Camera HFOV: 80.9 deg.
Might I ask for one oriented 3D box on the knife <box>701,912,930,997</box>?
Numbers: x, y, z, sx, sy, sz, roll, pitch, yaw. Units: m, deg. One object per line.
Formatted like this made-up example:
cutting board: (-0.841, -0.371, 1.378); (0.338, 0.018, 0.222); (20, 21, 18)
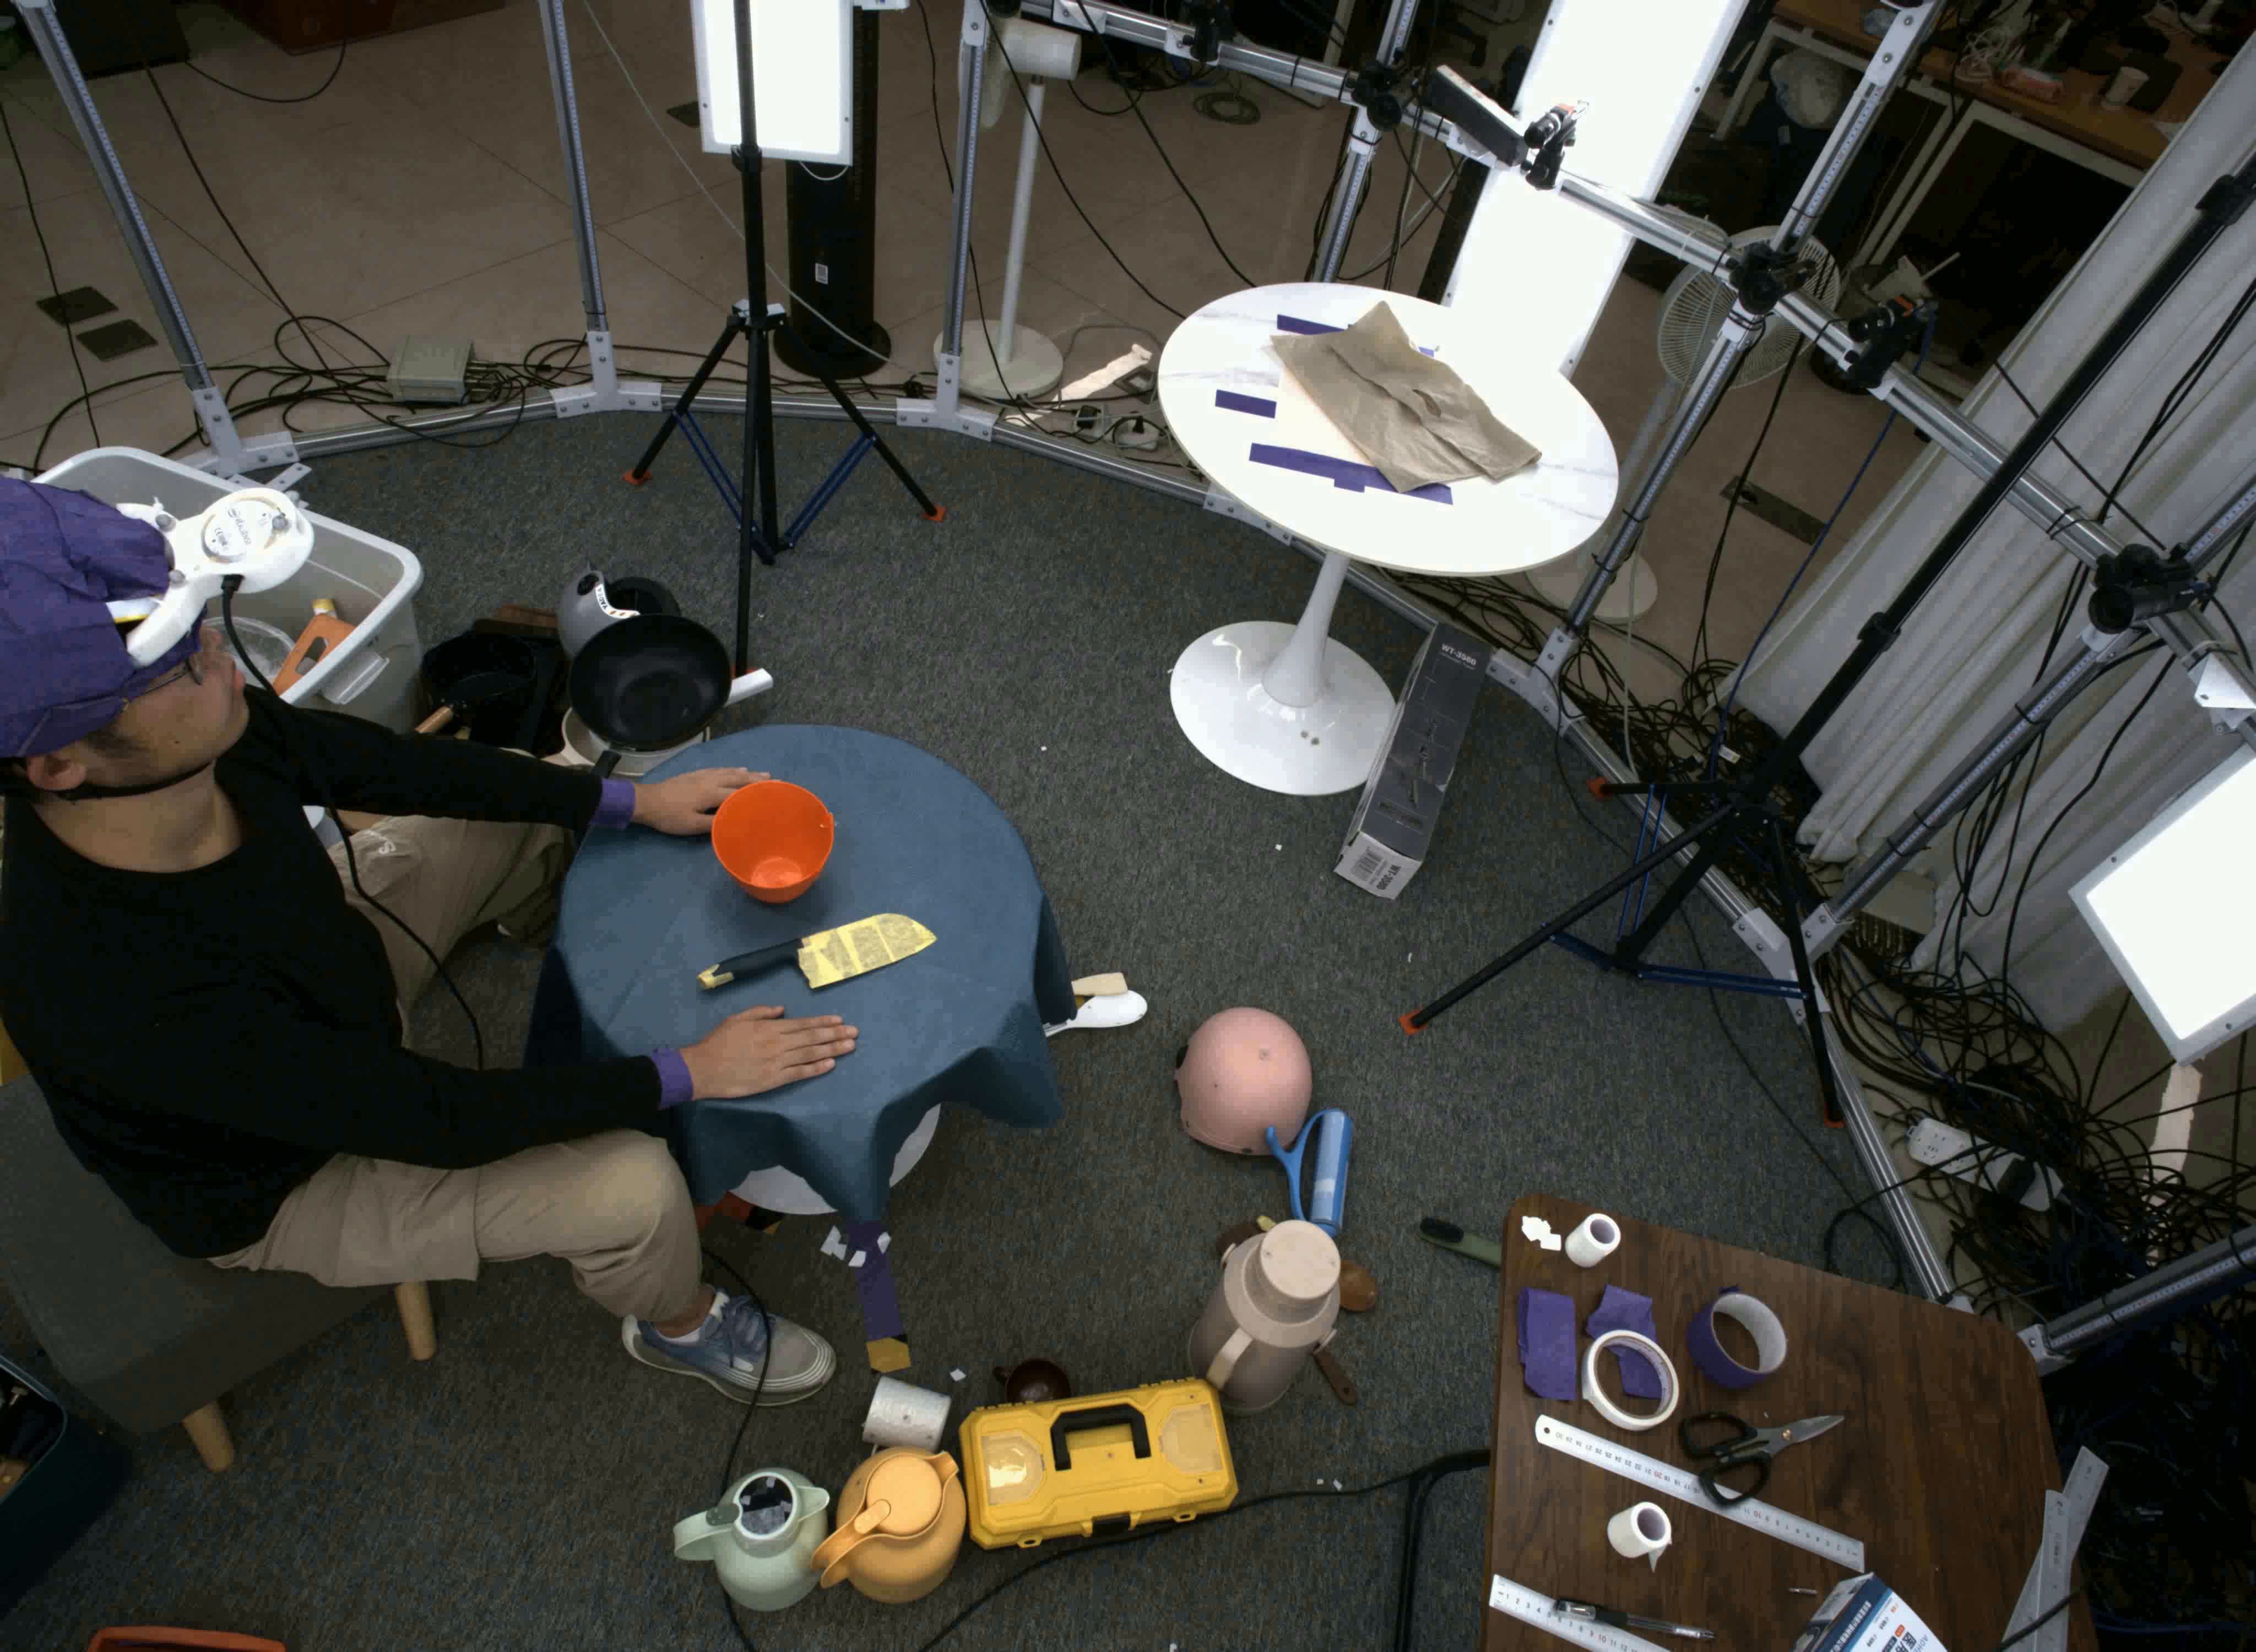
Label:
knife: (-0.380, 0.163, 1.602); (0.291, 0.028, 0.079); (-16, 57, -26)

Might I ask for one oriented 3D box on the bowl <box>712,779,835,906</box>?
bowl: (-0.443, 0.031, 1.627); (0.148, 0.106, 0.145); (8, 52, -9)
